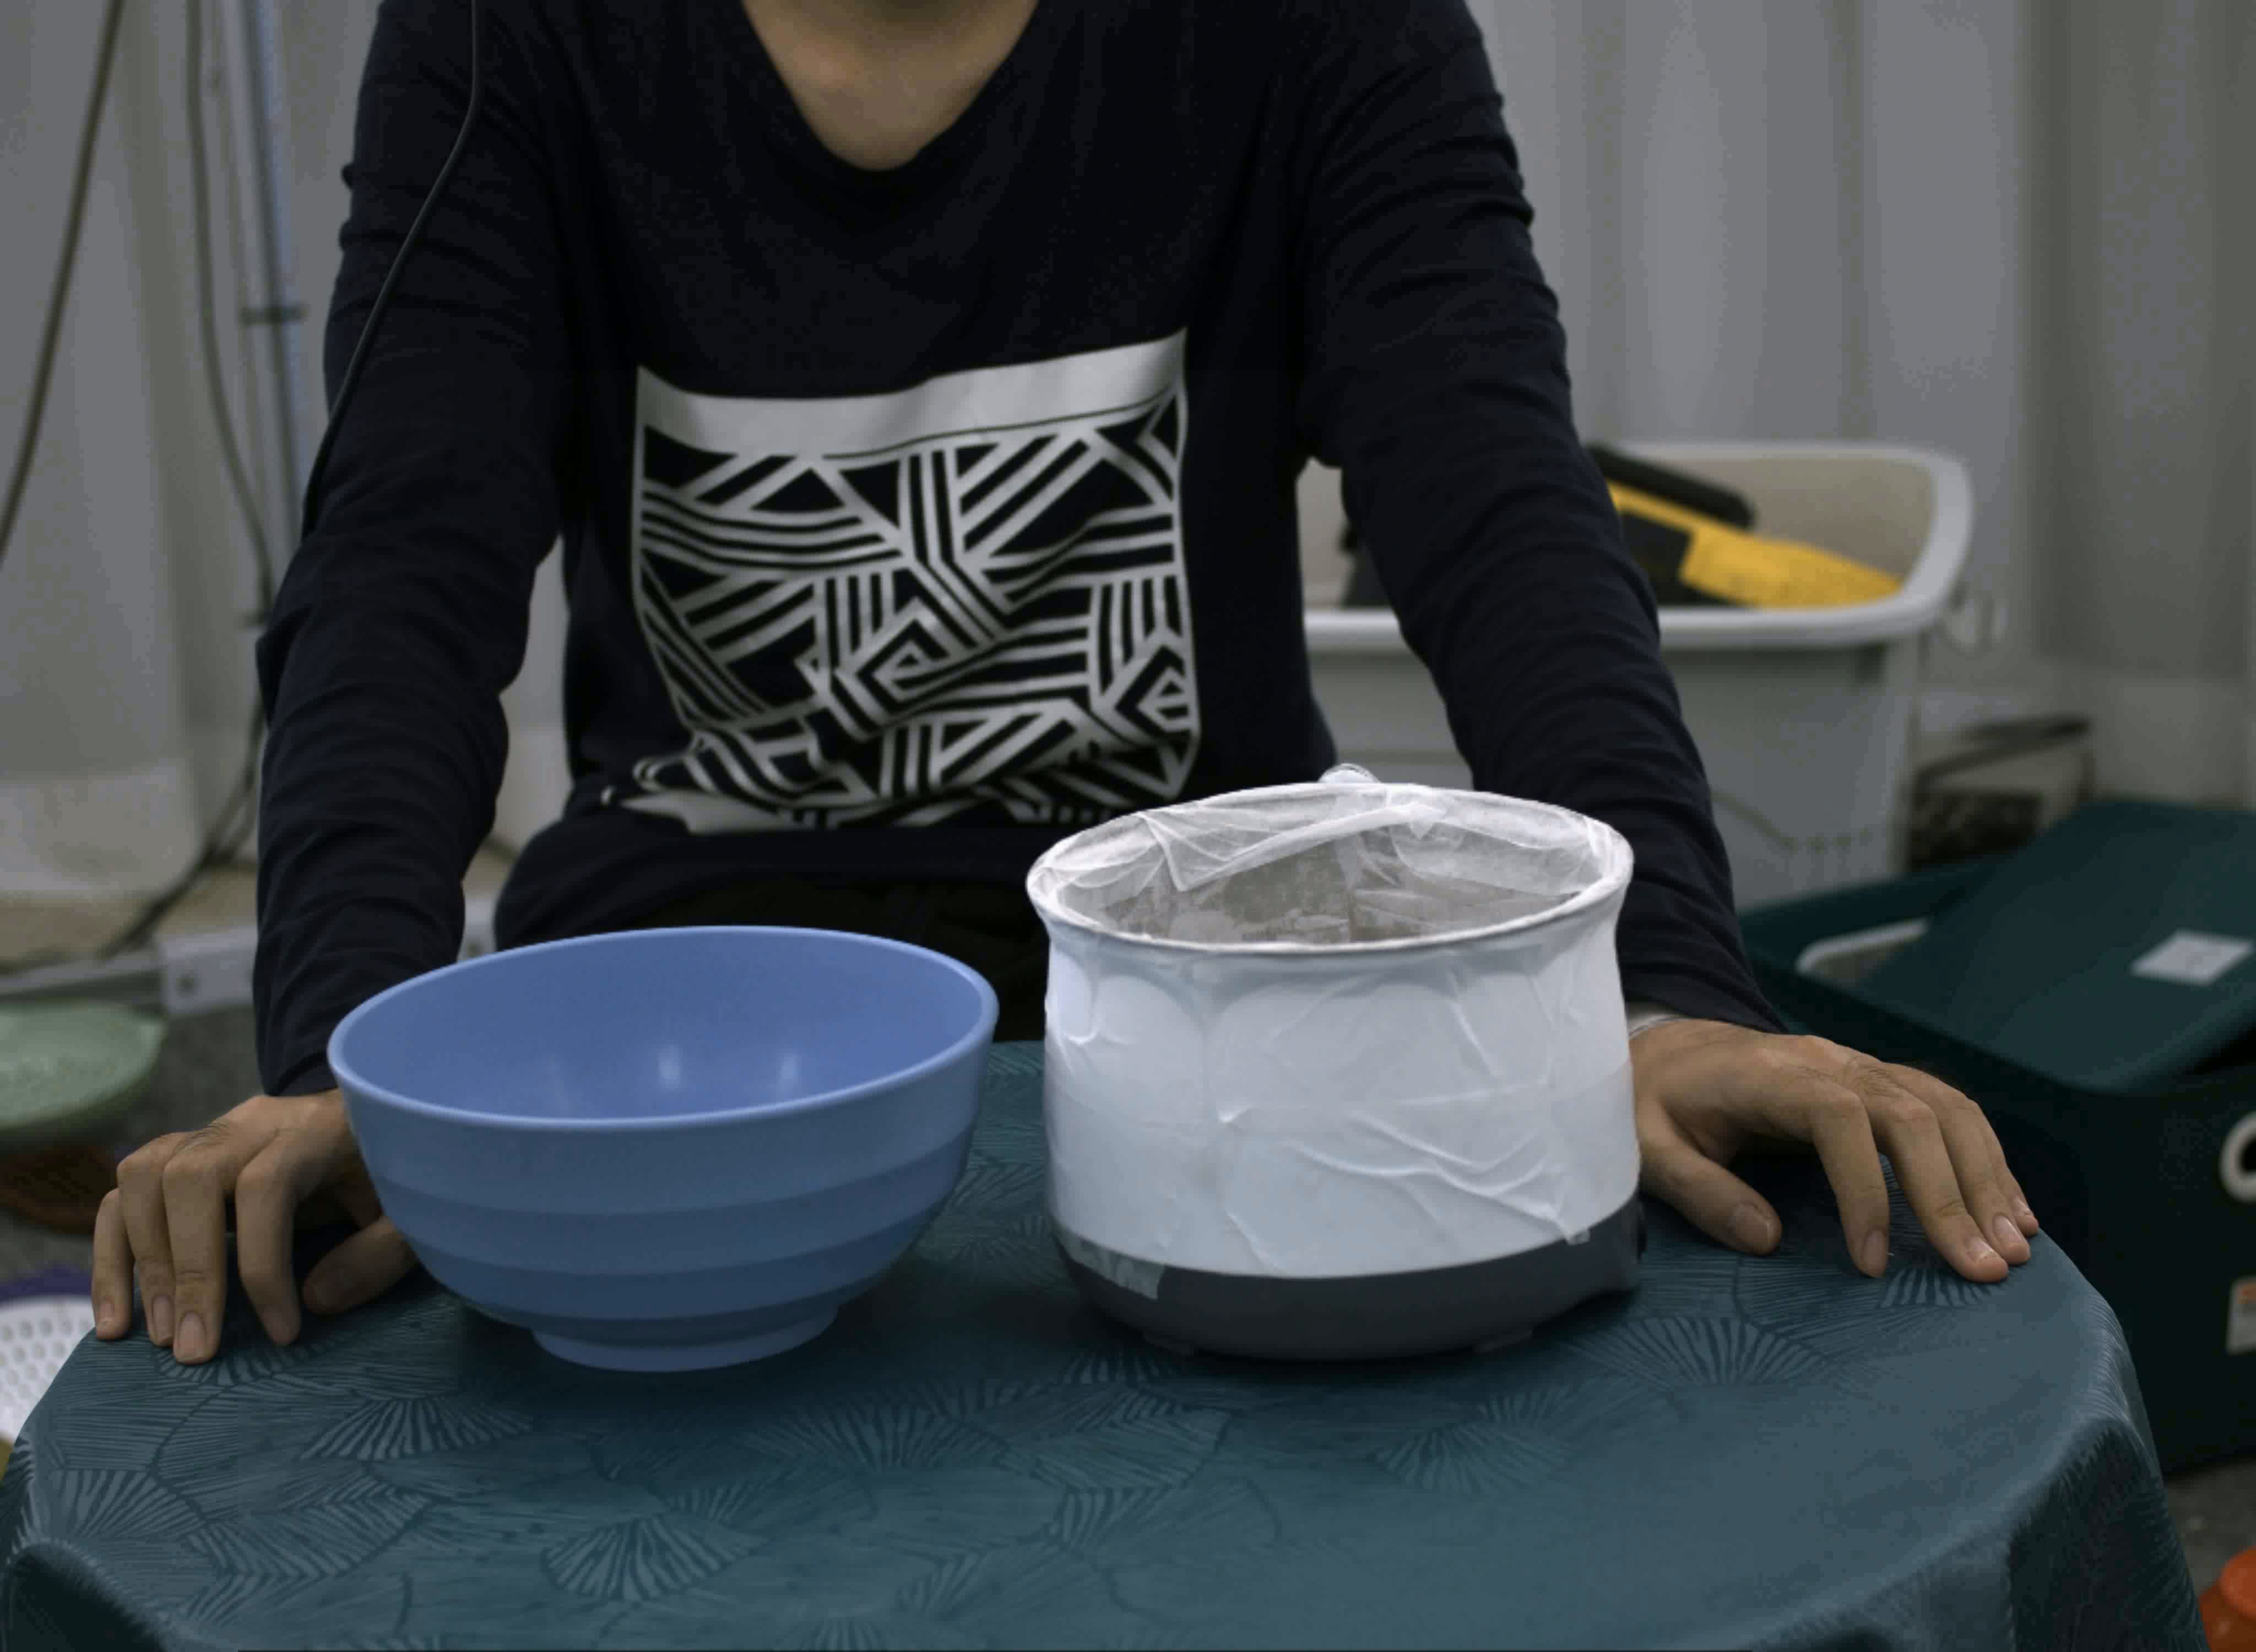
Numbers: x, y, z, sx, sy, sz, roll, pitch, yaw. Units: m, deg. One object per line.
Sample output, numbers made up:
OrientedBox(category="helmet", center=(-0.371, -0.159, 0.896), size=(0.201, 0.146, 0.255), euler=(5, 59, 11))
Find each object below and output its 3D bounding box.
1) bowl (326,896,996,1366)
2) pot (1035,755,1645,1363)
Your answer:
OrientedBox(category="bowl", center=(-0.133, 0.097, 1.610), size=(0.196, 0.095, 0.198), euler=(-4, 19, 1))
OrientedBox(category="pot", center=(0.063, 0.064, 1.629), size=(0.178, 0.136, 0.235), euler=(1, 16, 4))
